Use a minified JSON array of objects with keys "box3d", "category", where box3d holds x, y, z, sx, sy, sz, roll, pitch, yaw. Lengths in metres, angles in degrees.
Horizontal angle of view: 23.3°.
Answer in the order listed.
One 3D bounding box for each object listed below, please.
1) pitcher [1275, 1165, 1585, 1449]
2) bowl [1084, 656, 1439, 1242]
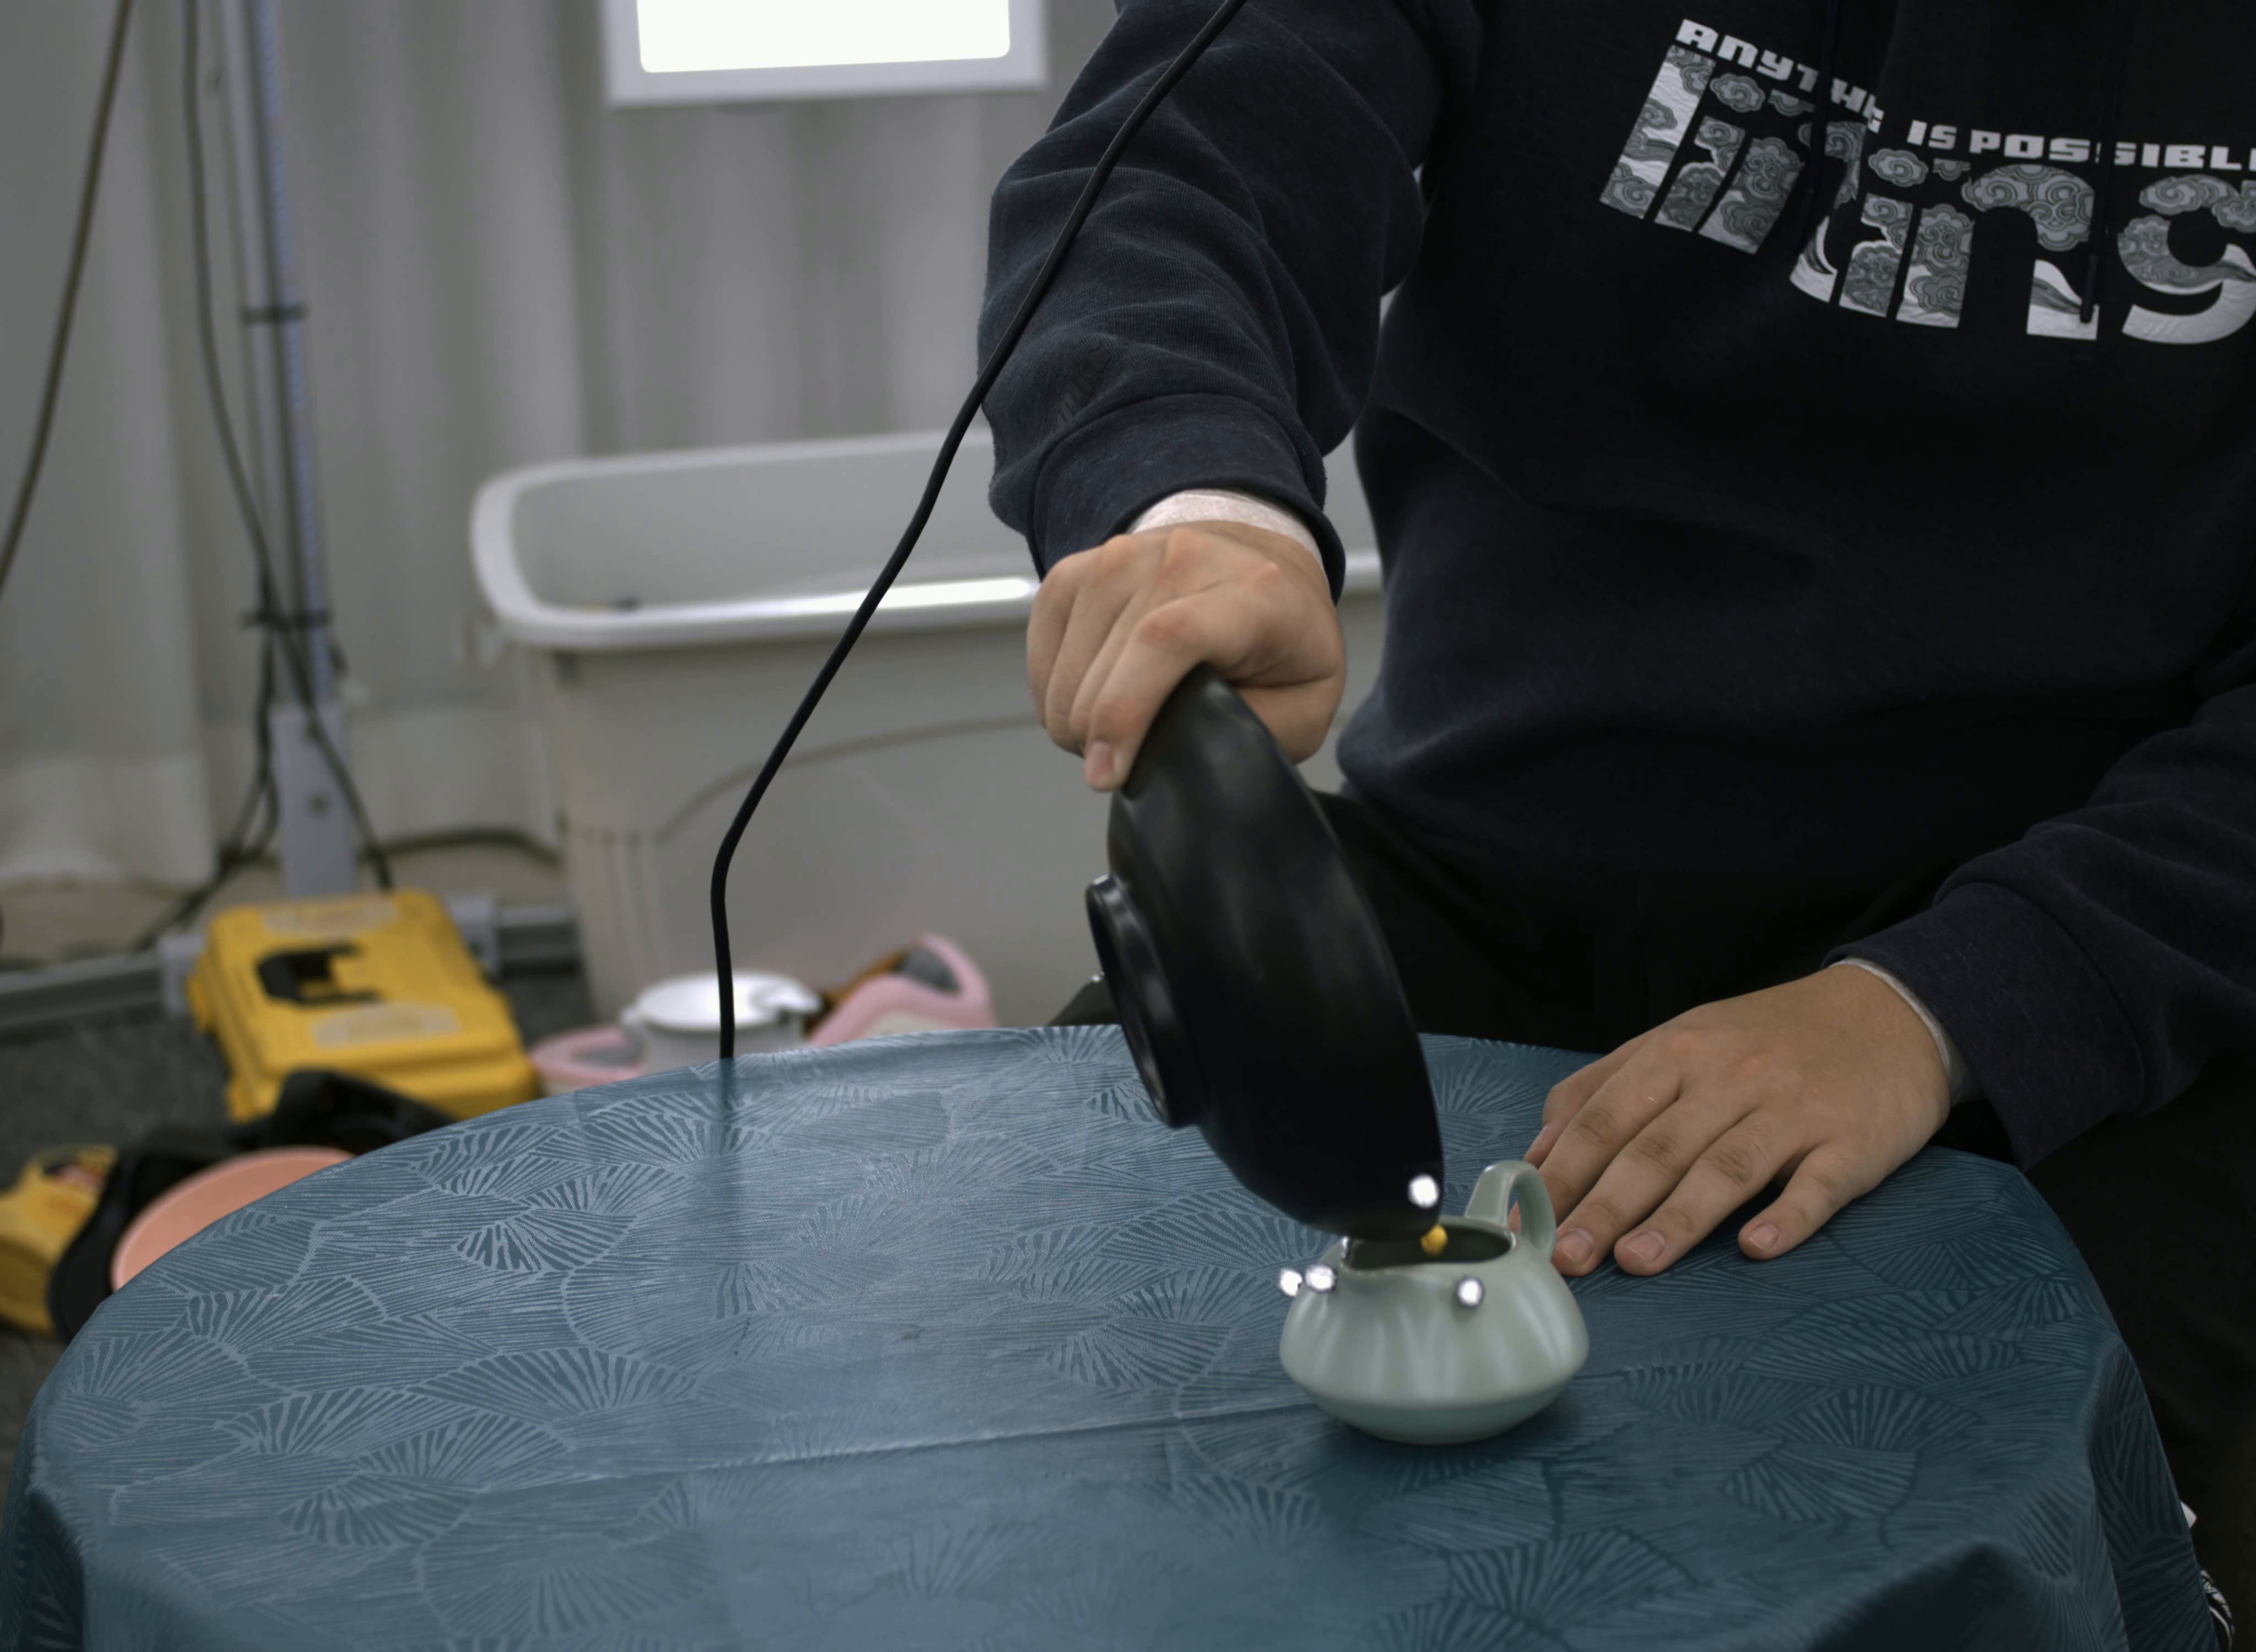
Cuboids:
[{"box3d":[0.089,0.134,1.522,0.086,0.060,0.108,7,16,30],"category":"pitcher"},{"box3d":[0.030,0.040,1.476,0.066,0.170,0.138,-19,11,-6],"category":"bowl"}]
